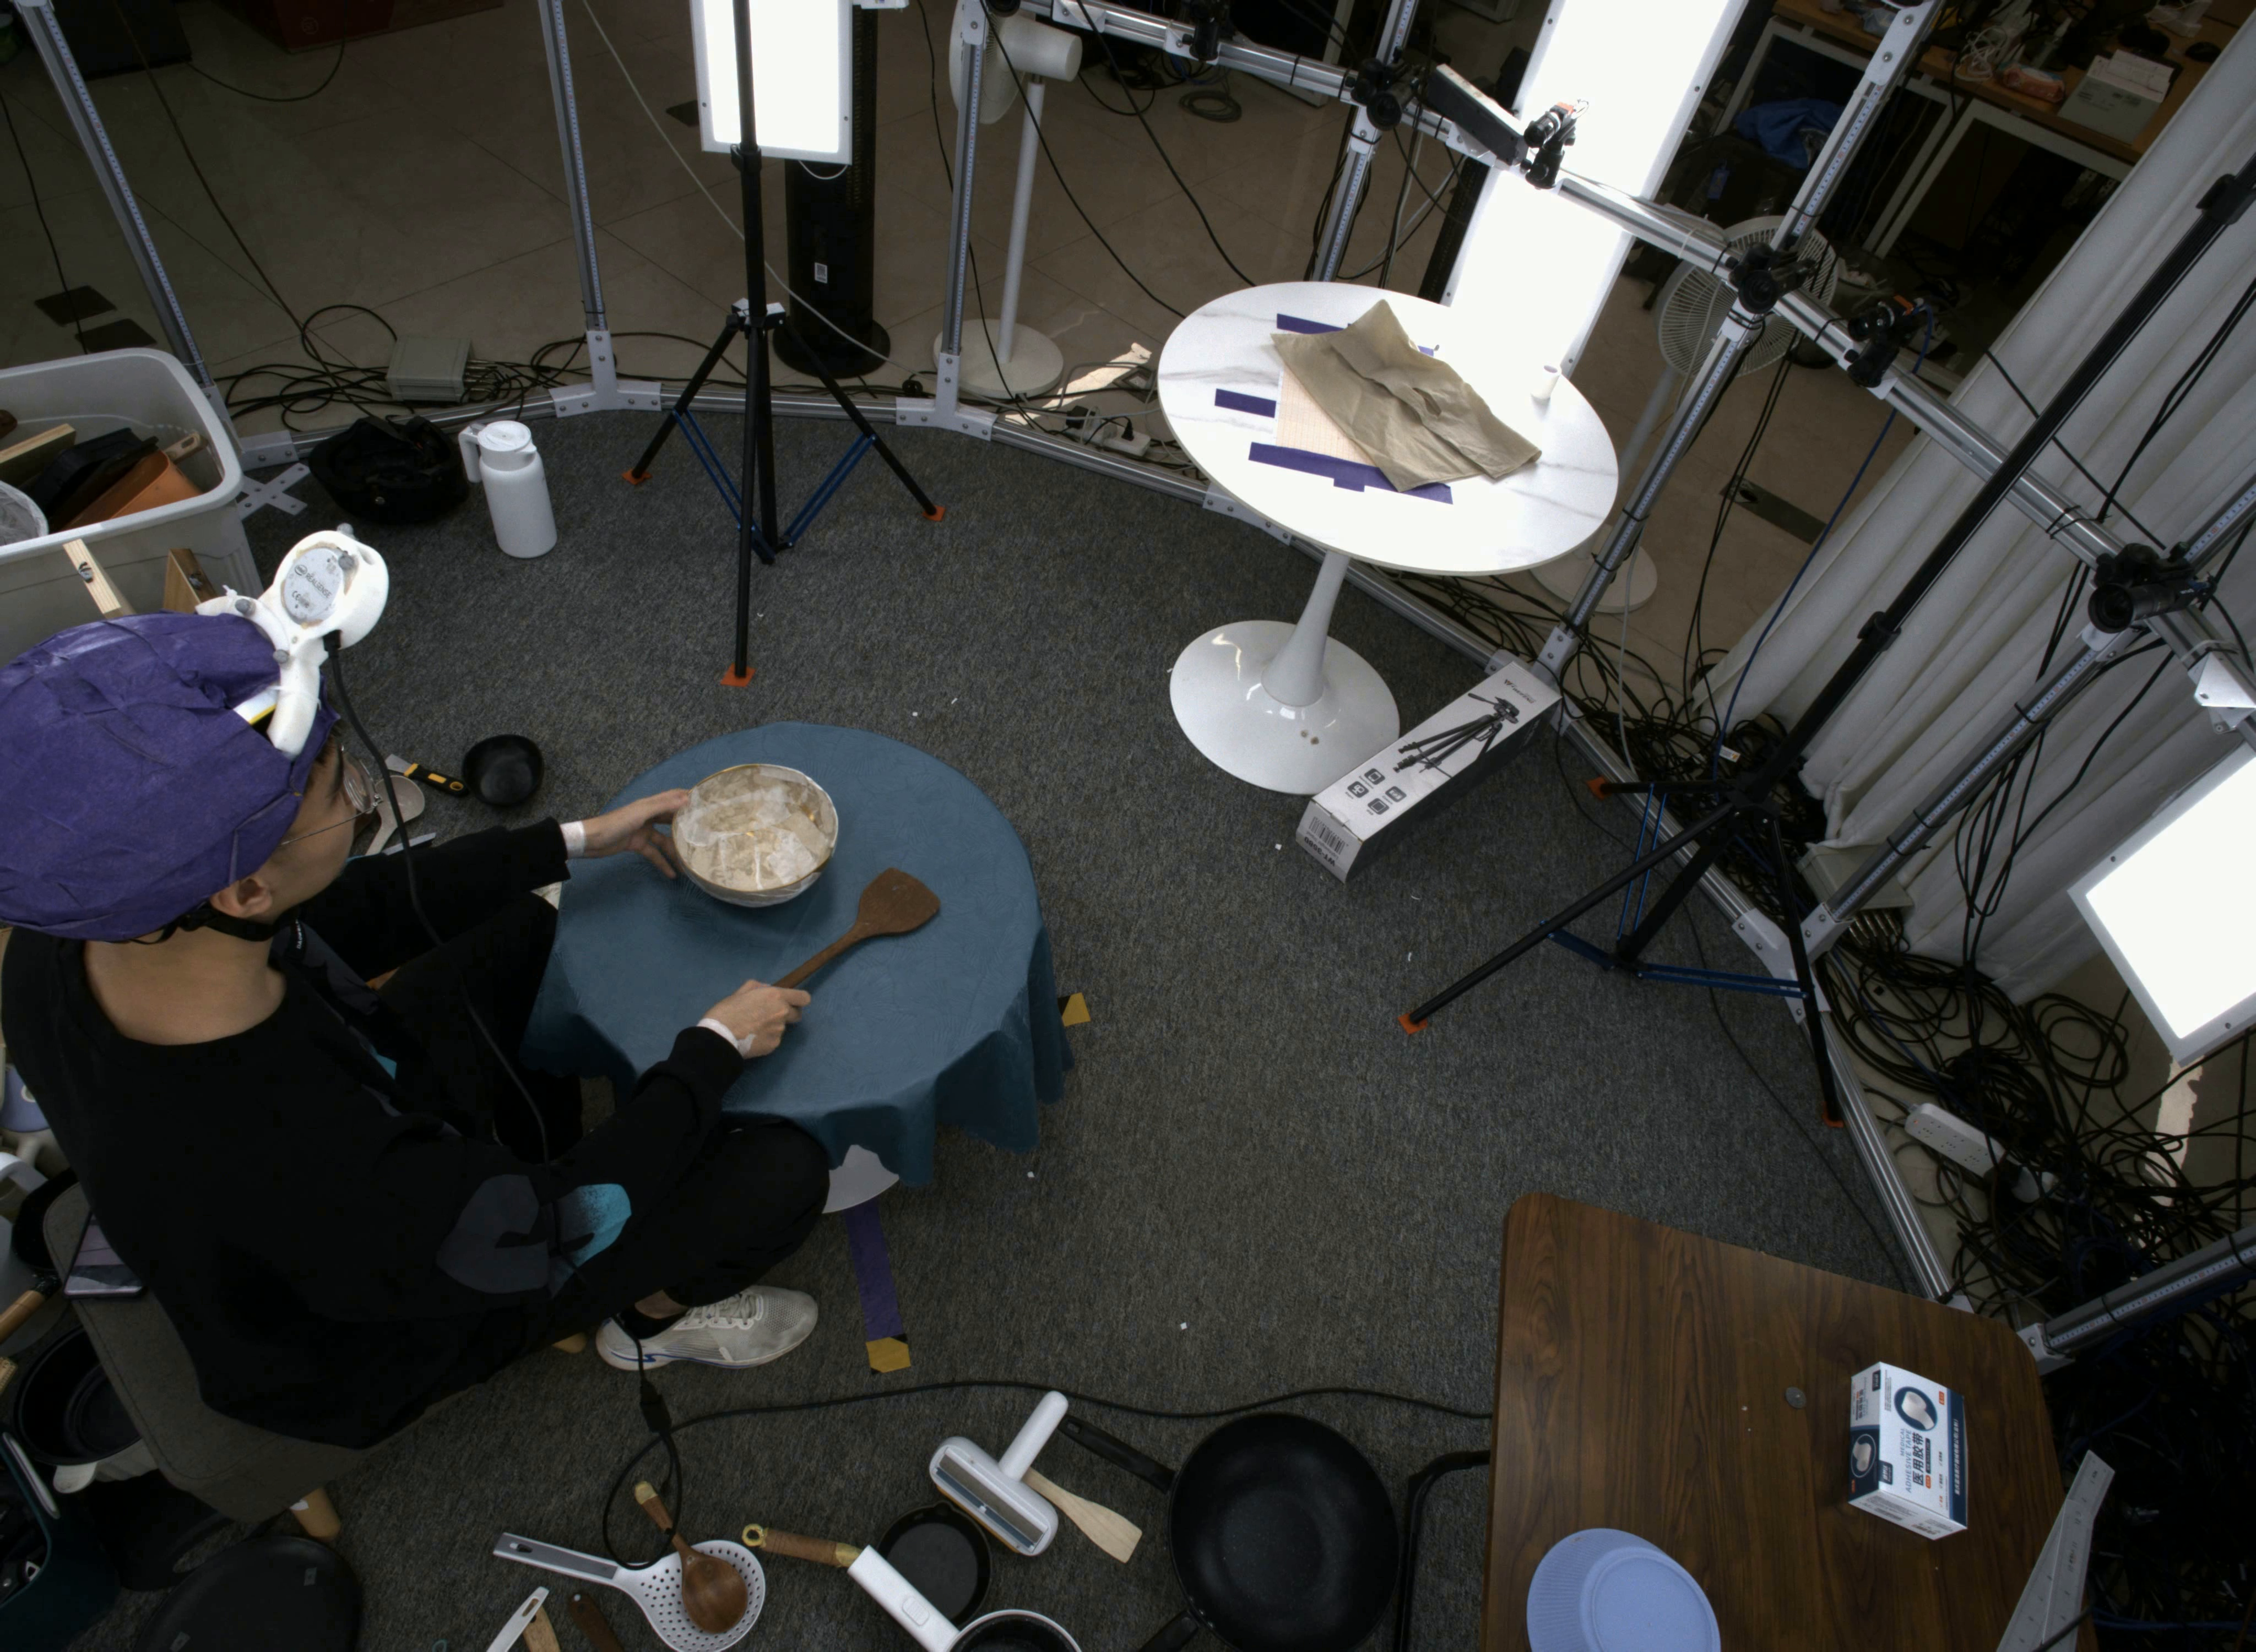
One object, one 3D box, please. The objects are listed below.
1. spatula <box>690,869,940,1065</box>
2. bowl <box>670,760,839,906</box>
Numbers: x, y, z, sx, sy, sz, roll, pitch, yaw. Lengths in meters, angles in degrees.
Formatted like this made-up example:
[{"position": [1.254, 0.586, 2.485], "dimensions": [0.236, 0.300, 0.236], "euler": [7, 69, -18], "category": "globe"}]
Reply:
[{"position": [-0.383, 0.169, 1.585], "dimensions": [0.094, 0.016, 0.386], "euler": [37, 47, 15], "category": "spatula"}, {"position": [-0.472, 0.023, 1.639], "dimensions": [0.214, 0.096, 0.211], "euler": [8, 54, -9], "category": "bowl"}]
